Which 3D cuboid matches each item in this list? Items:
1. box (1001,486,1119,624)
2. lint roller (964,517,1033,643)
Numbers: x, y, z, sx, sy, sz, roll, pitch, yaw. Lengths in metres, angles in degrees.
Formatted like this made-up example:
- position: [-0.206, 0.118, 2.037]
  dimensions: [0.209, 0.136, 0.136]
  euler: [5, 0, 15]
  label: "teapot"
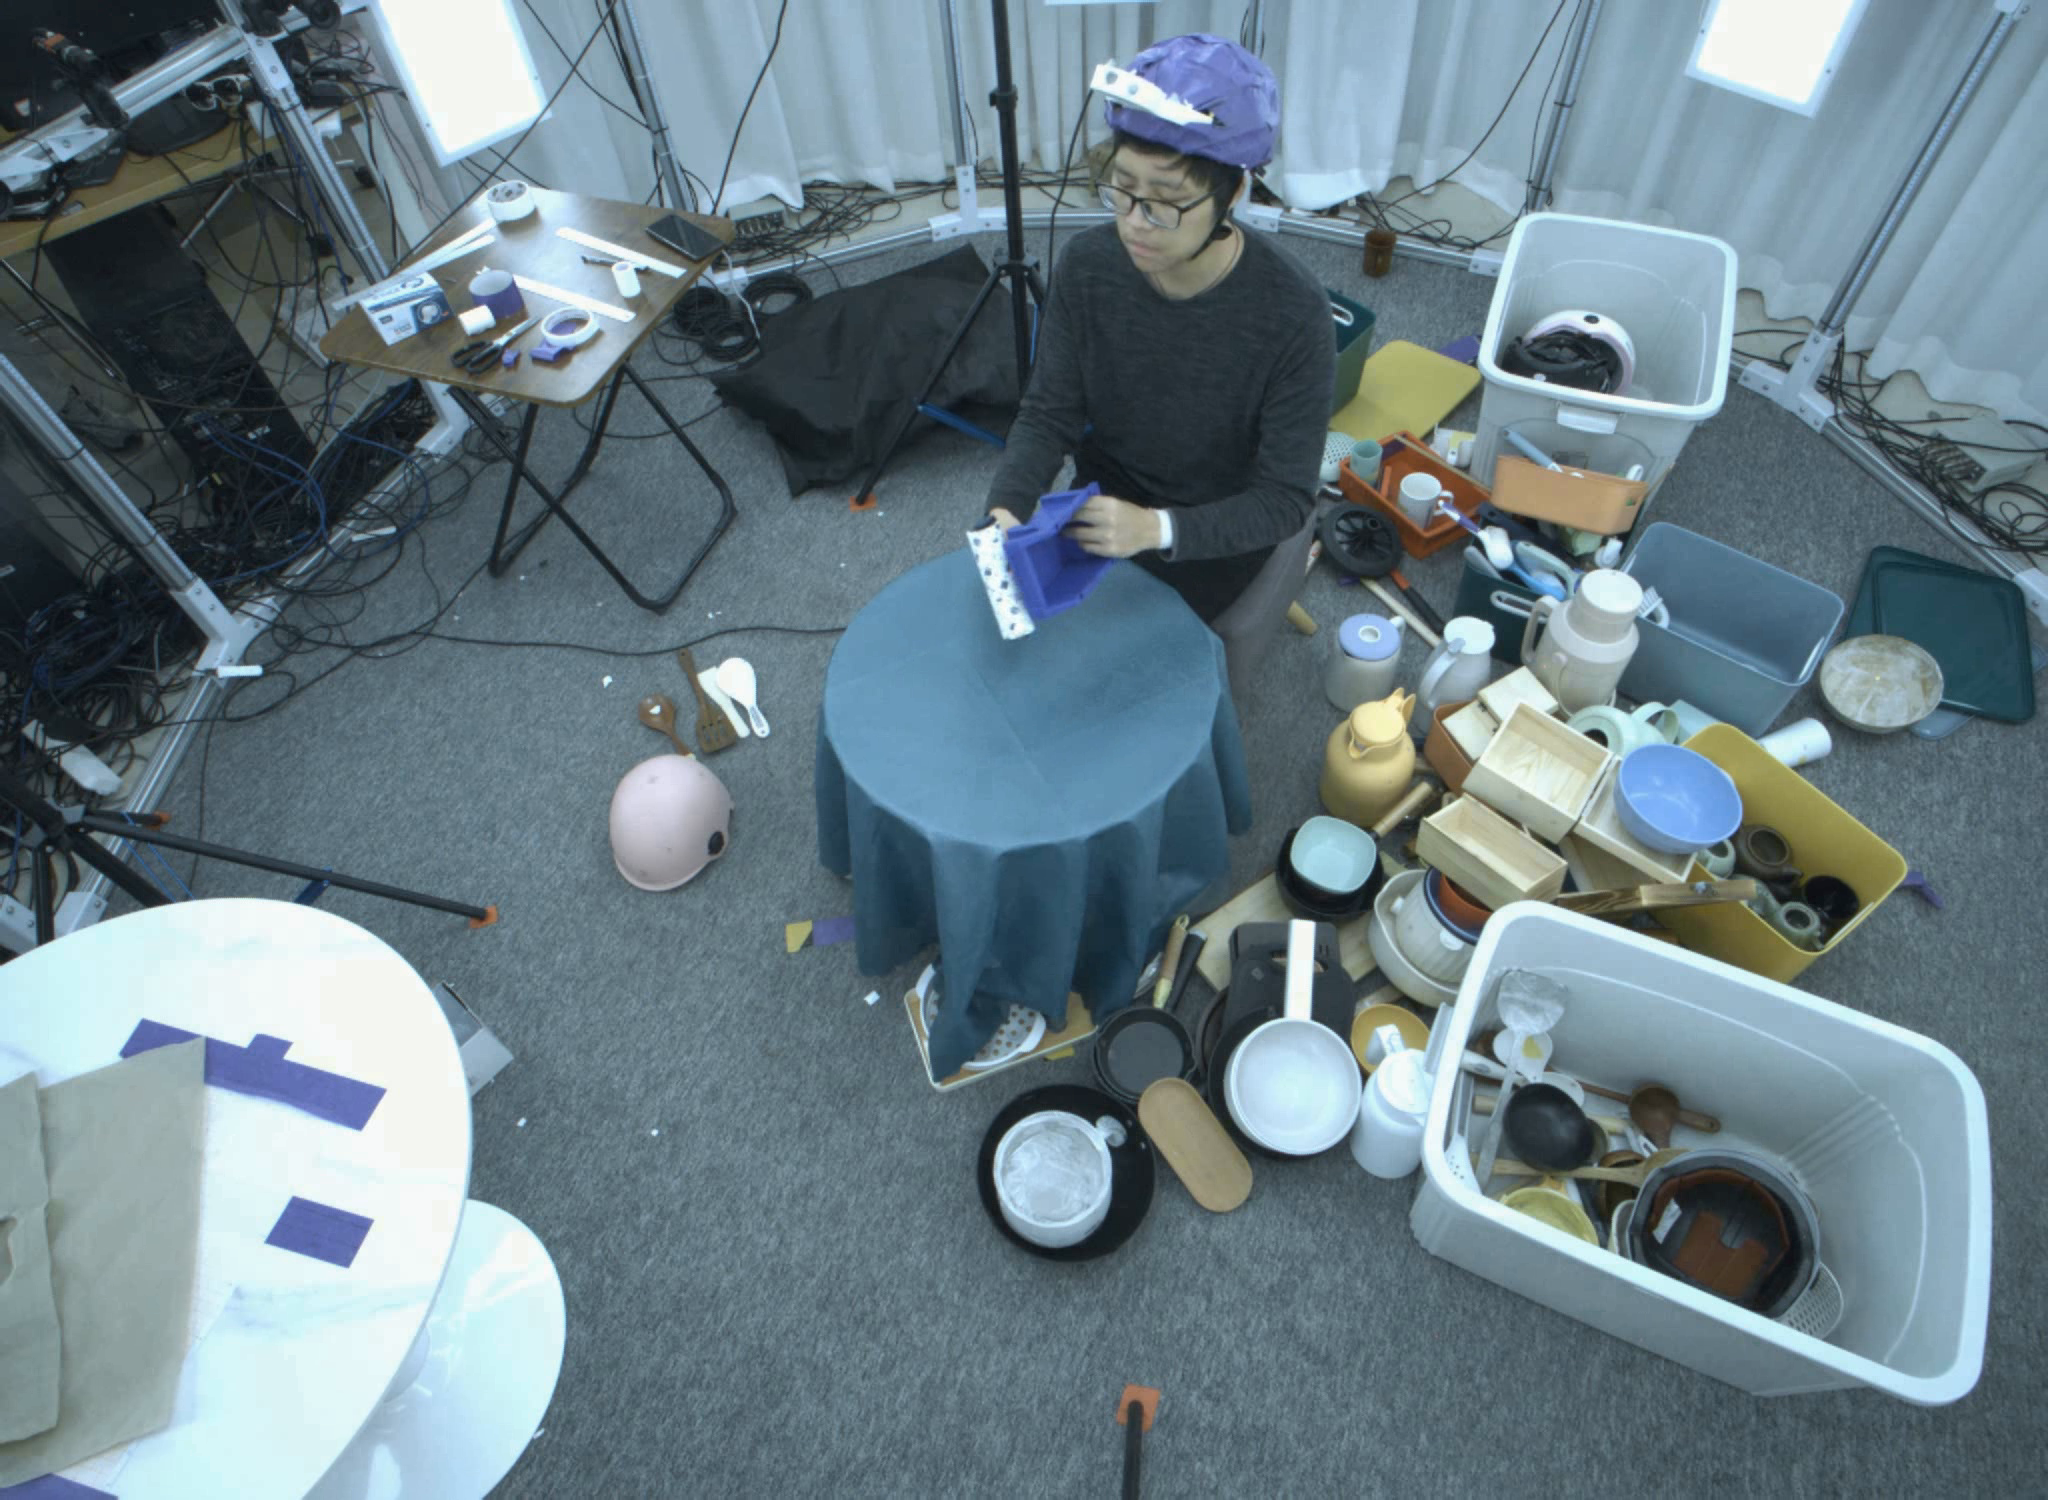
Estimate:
- position: [0.047, -0.272, 1.715]
  dimensions: [0.080, 0.126, 0.180]
  euler: [-1, 34, 32]
  label: "box"
- position: [-0.022, -0.274, 1.806]
  dimensions: [0.050, 0.178, 0.246]
  euler: [-15, 21, 14]
  label: "lint roller"
